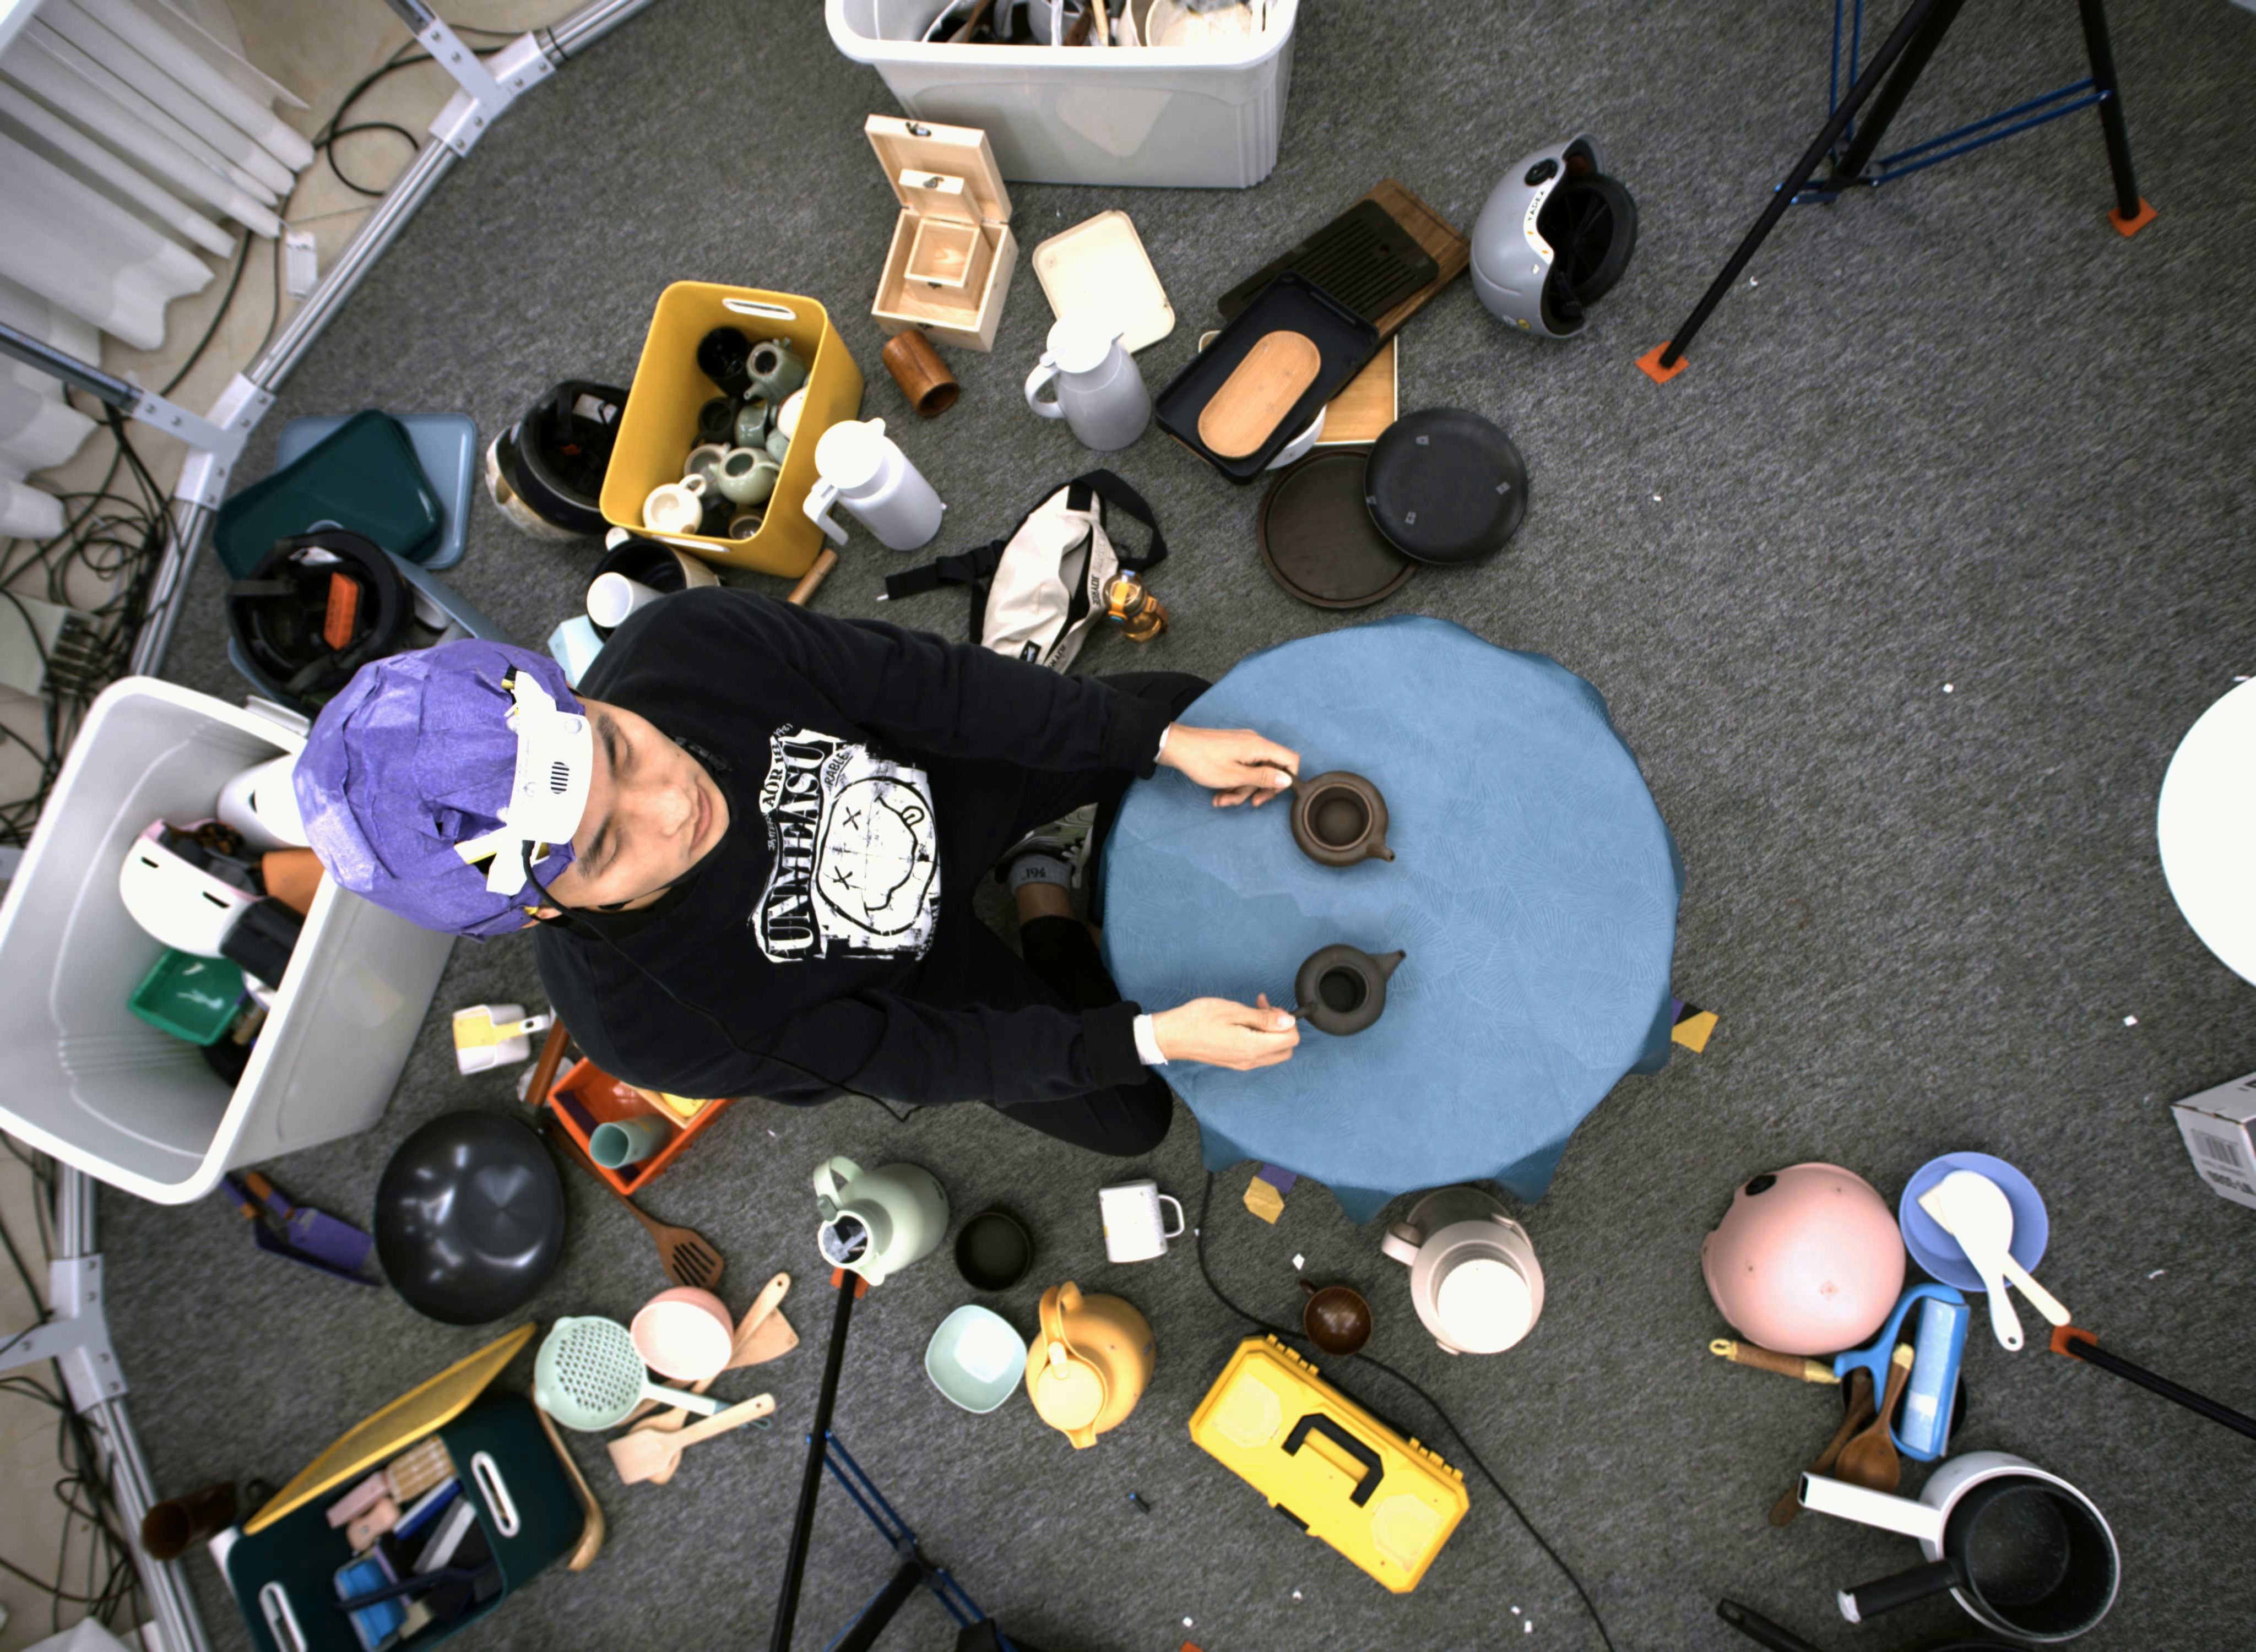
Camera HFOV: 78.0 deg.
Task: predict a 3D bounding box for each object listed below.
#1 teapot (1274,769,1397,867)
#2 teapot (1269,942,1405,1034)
[{"bbox_3d":[0.217,-0.012,1.448,0.153,0.054,0.103,33,91,11],"label":"teapot"},{"bbox_3d":[0.211,0.165,1.402,0.154,0.065,0.091,-28,79,-4],"label":"teapot"}]
